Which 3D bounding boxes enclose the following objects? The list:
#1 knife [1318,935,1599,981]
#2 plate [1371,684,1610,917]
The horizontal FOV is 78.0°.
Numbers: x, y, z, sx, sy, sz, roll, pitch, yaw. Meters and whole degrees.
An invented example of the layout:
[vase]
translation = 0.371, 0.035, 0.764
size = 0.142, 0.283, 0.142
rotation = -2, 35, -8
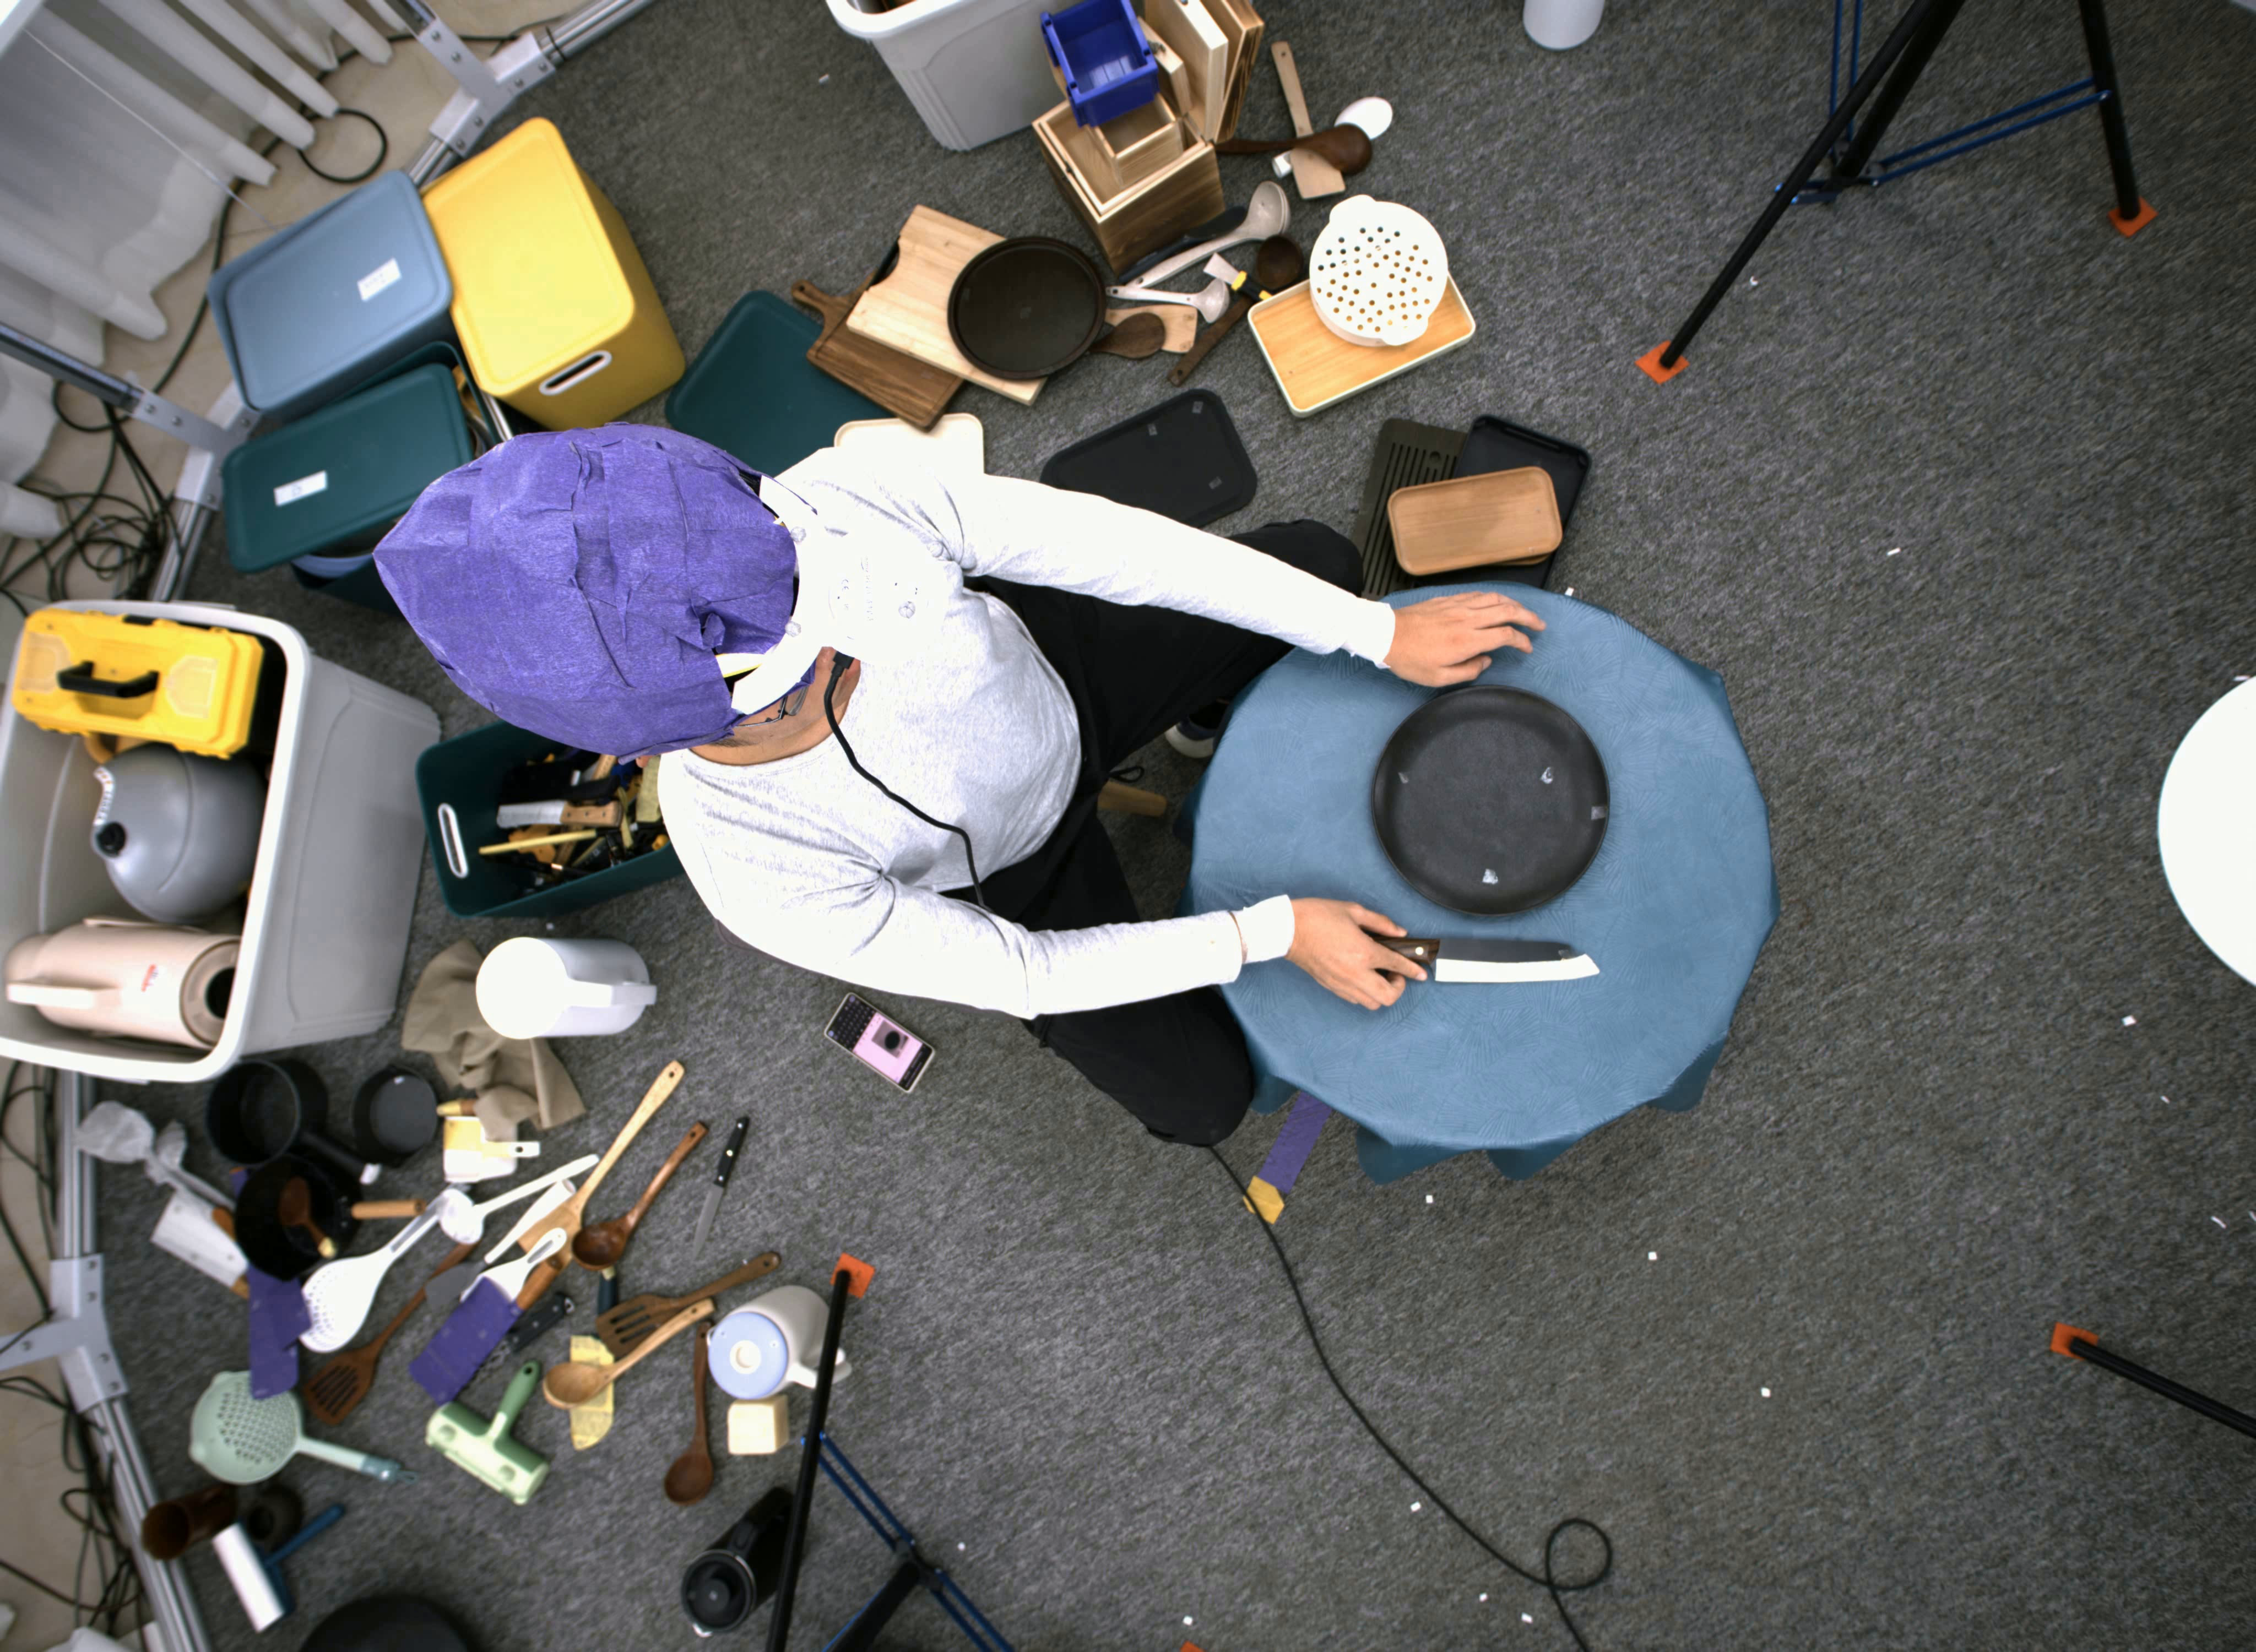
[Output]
[knife]
translation = 0.342, 0.135, 1.431
size = 0.290, 0.020, 0.050
rotation = 3, 98, 7
[plate]
translation = 0.376, -0.029, 1.434
size = 0.245, 0.023, 0.243
rotation = -1, 87, 11
